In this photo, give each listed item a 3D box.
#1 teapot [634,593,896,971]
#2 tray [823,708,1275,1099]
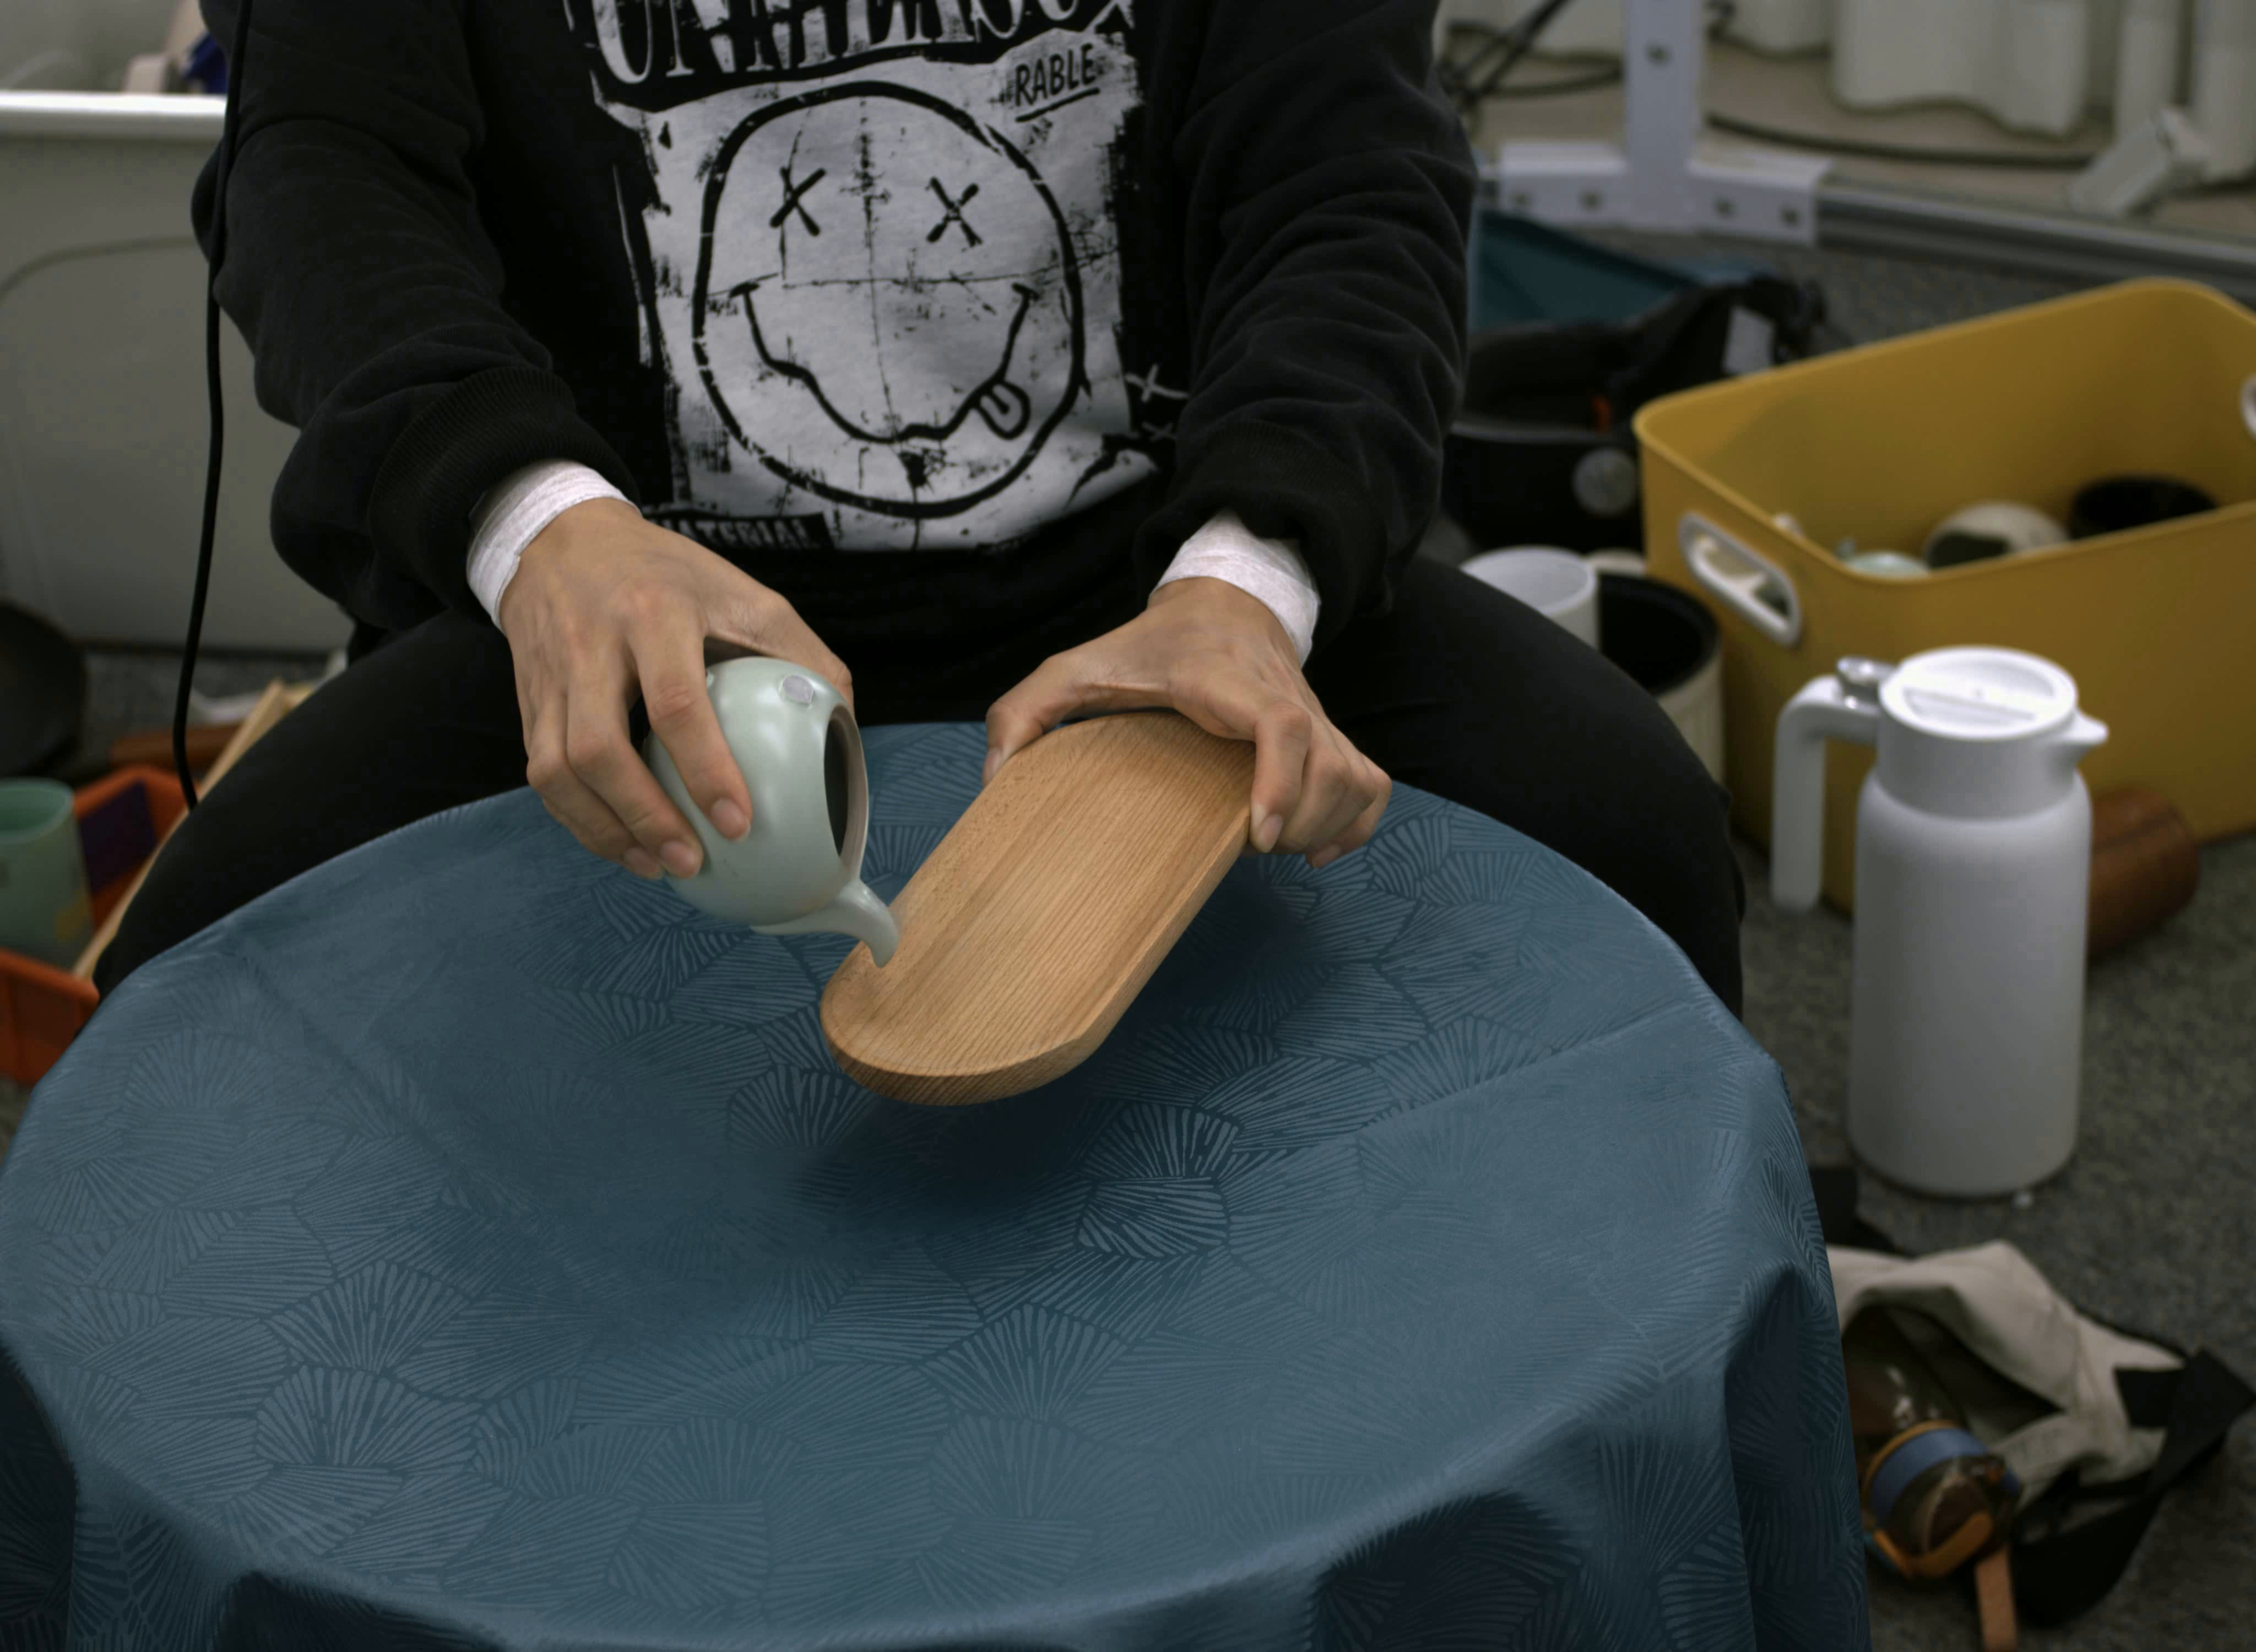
[{"bbox_3d":[-0.121,-0.012,1.839,0.074,0.142,0.090,-3,29,9],"label":"teapot"},{"bbox_3d":[-0.025,0.024,1.910,0.101,0.020,0.235,8,33,22],"label":"tray"}]
